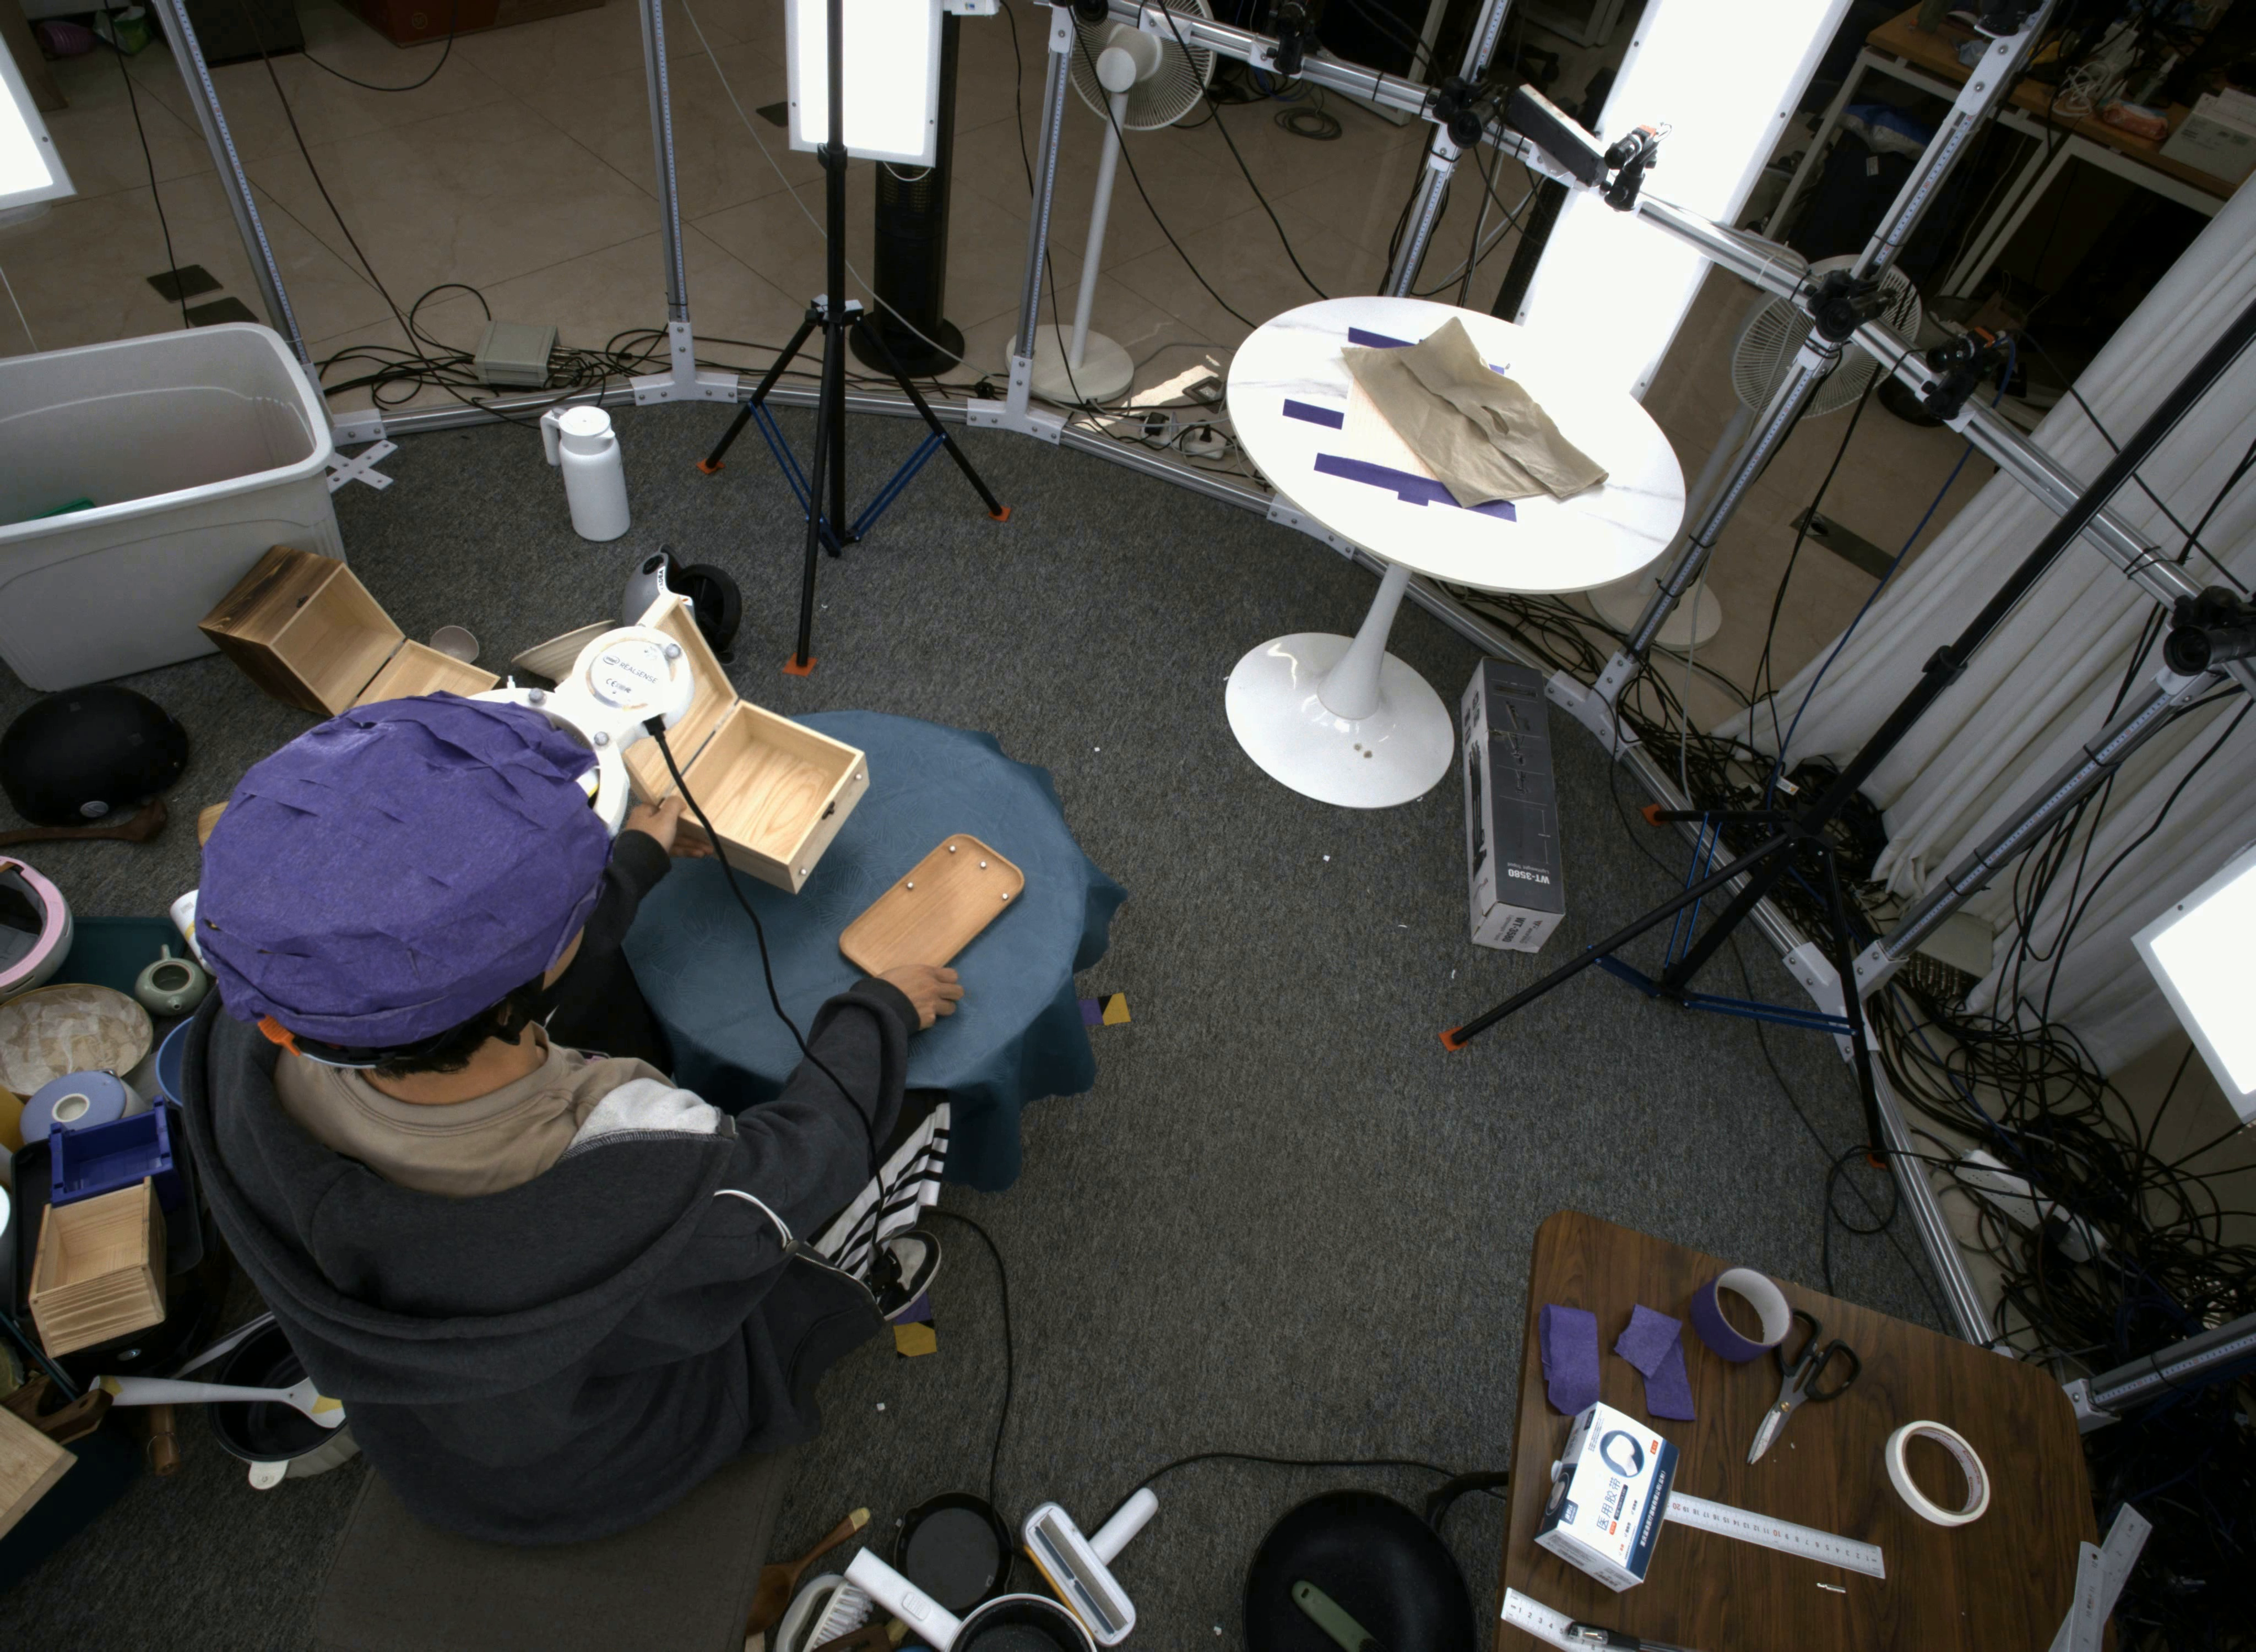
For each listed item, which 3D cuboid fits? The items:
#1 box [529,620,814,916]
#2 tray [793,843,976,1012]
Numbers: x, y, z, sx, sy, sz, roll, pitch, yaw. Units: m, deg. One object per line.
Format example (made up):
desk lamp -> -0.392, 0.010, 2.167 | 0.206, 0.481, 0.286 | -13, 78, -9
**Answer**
box -> -0.539, -0.068, 1.505 | 0.261, 0.259, 0.180 | 18, 61, 6
tray -> -0.306, 0.124, 1.655 | 0.128, 0.023, 0.250 | 31, 53, 13
